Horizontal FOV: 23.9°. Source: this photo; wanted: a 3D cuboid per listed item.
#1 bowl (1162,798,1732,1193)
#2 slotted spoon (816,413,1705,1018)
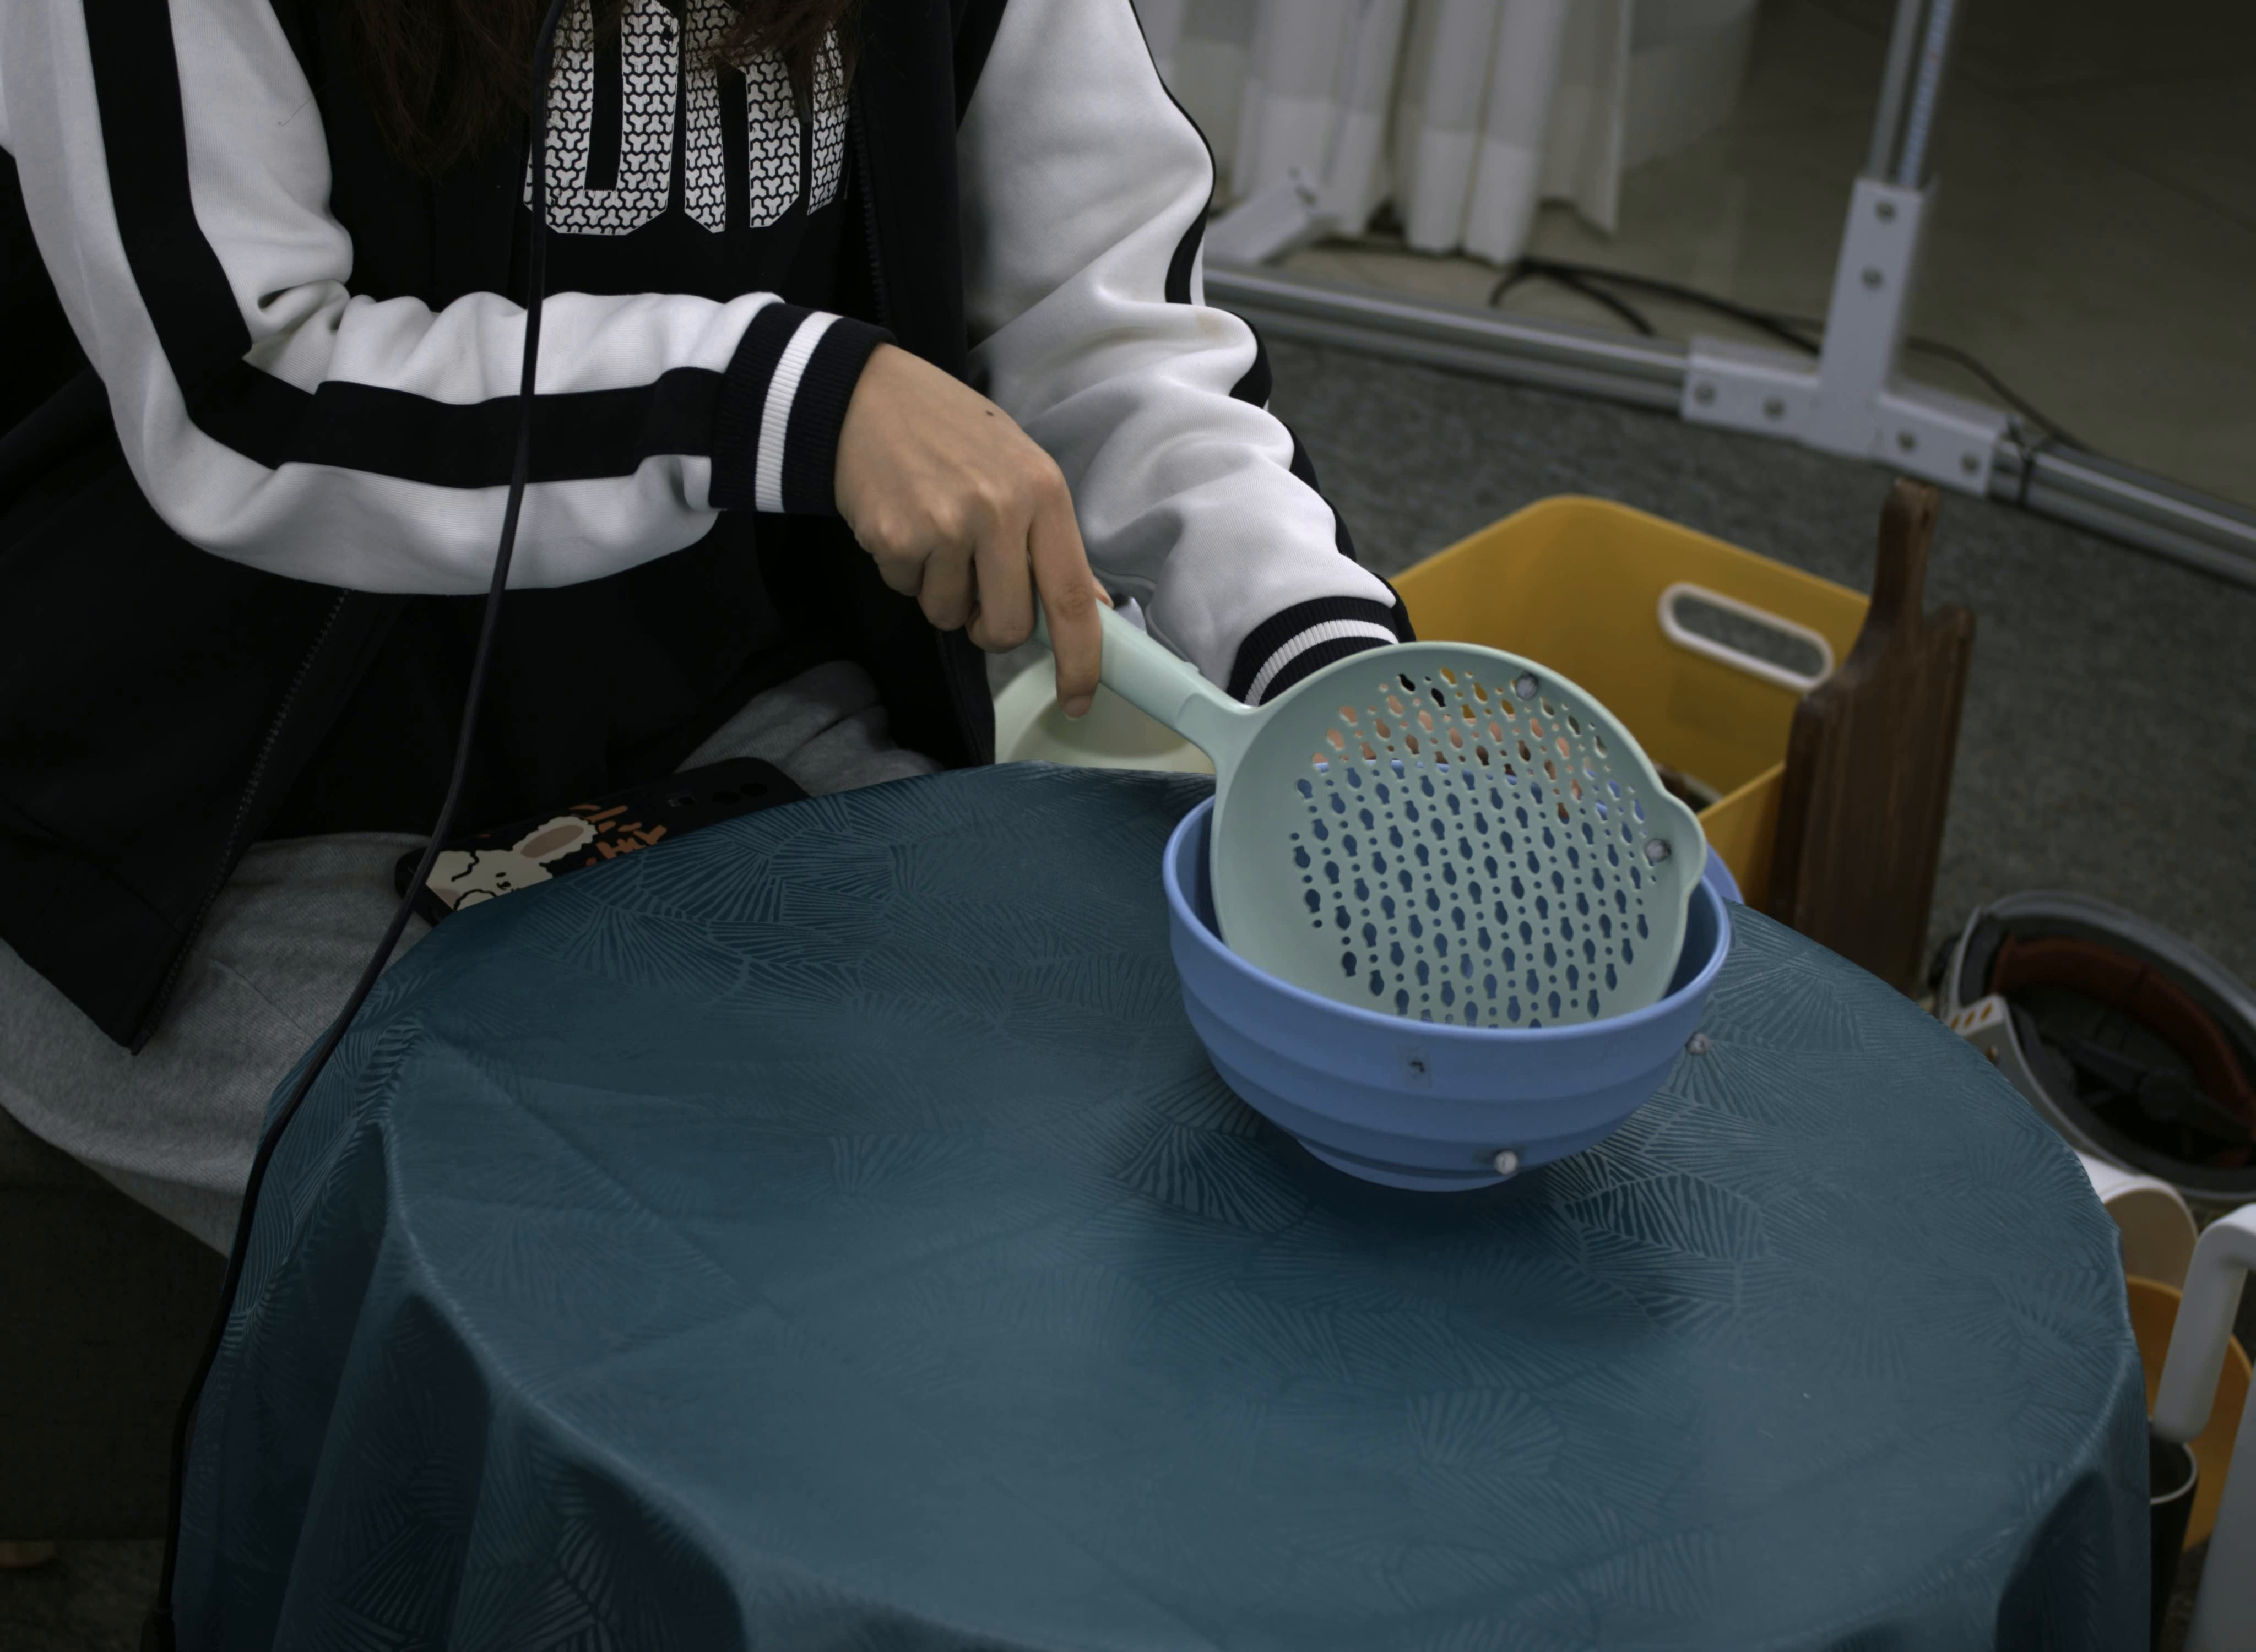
[{"bbox_3d":[0.104,0.063,1.840,0.196,0.095,0.198,5,27,-3],"label":"bowl"},{"bbox_3d":[0.034,-0.038,1.855,0.359,0.169,0.075,32,21,3],"label":"slotted spoon"}]
